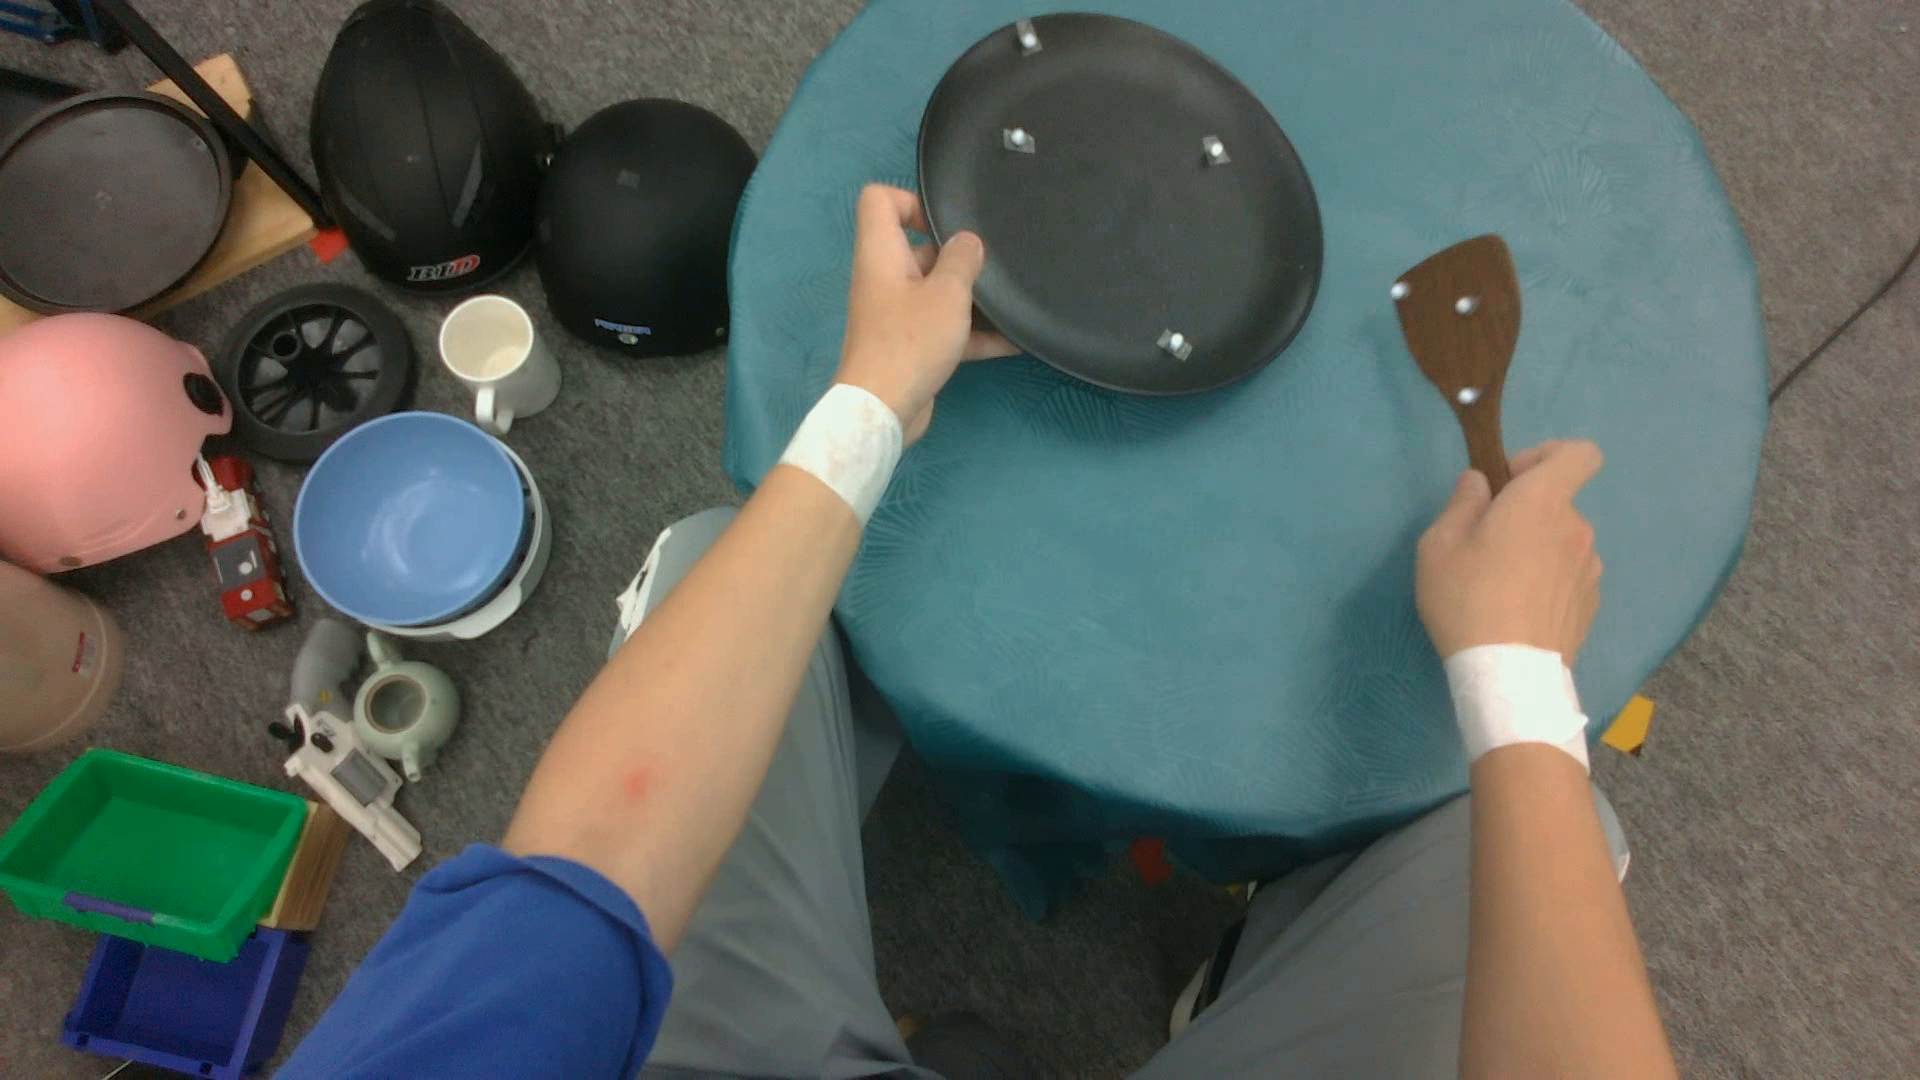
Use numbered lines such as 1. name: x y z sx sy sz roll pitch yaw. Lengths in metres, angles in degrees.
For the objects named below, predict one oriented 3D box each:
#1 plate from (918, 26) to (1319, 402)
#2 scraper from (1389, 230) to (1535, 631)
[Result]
1. plate: 0.091 -0.186 0.784 0.244 0.023 0.245 6 69 -16
2. scraper: 0.276 -0.057 0.733 0.011 0.075 0.211 -1 79 -31
